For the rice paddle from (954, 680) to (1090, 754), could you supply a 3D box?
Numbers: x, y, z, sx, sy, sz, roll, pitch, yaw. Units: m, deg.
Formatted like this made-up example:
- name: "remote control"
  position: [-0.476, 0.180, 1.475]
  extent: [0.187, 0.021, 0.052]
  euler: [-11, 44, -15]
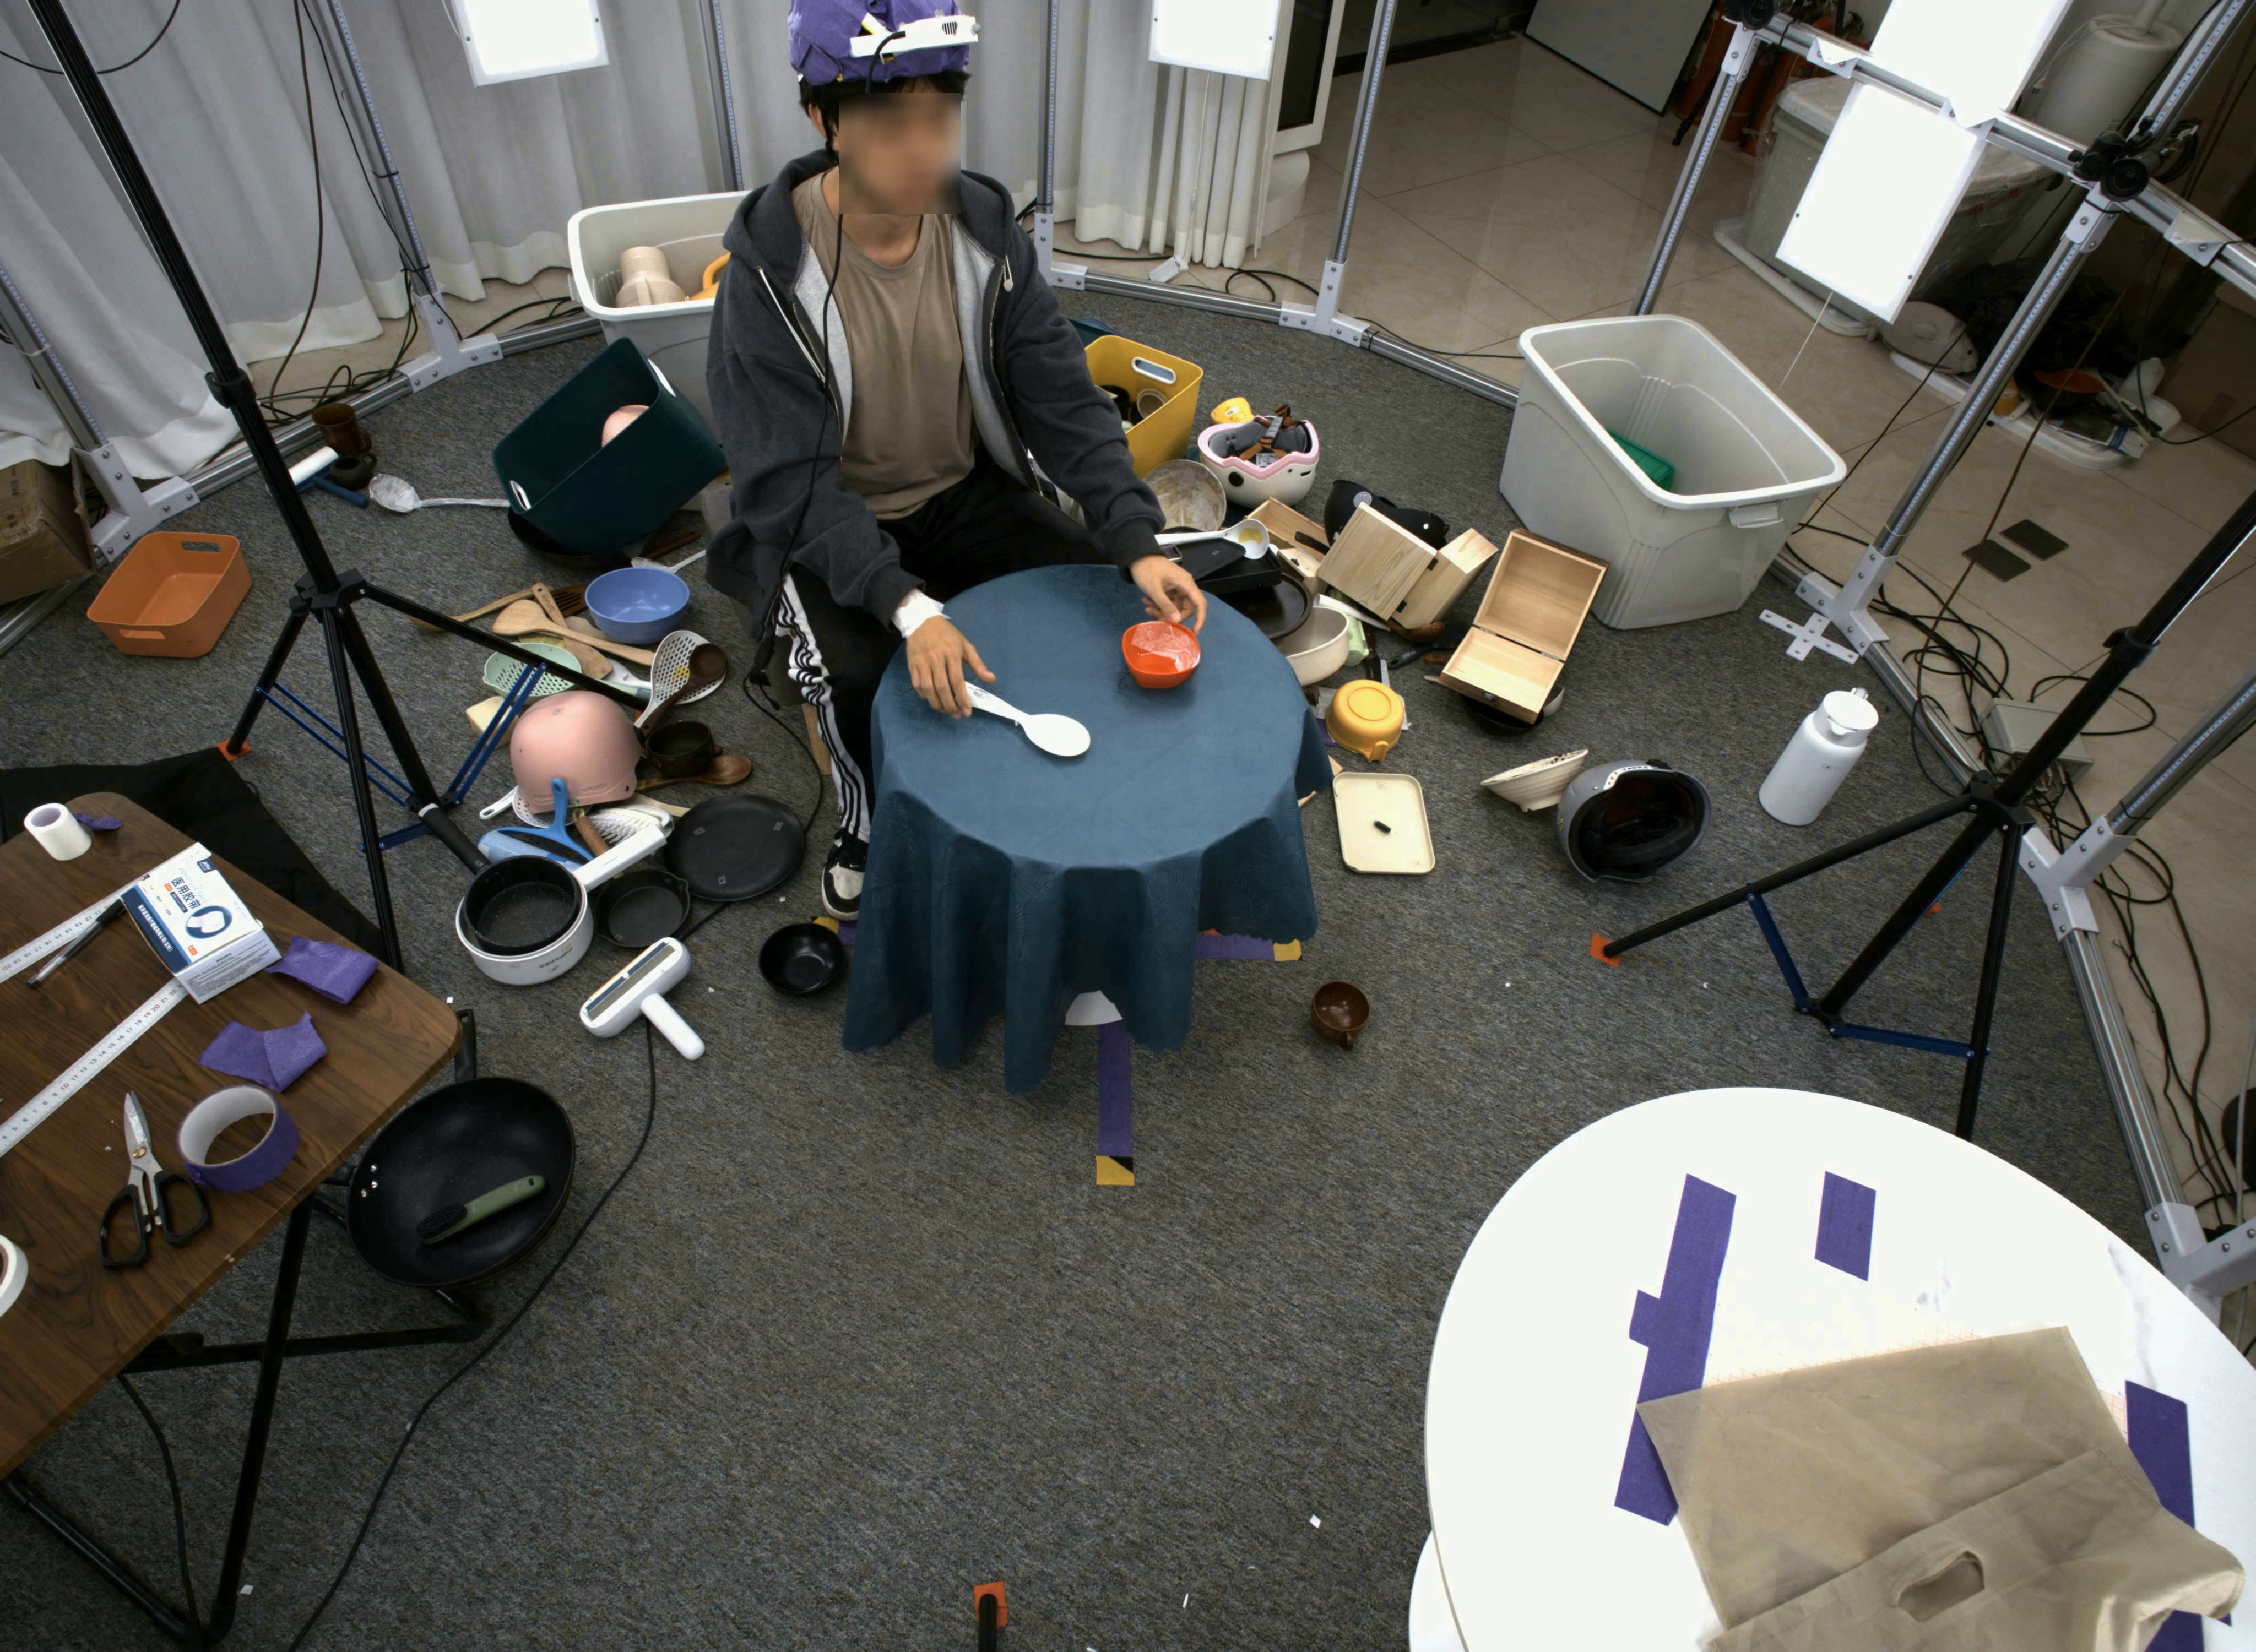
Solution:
- name: "rice paddle"
  position: [-0.145, -0.151, 1.767]
  extent: [0.207, 0.029, 0.070]
  euler: [24, 53, 16]

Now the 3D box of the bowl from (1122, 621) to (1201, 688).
- name: "bowl"
  position: [0.046, -0.240, 1.844]
  extent: [0.119, 0.050, 0.122]
  euler: [2, 50, -3]
